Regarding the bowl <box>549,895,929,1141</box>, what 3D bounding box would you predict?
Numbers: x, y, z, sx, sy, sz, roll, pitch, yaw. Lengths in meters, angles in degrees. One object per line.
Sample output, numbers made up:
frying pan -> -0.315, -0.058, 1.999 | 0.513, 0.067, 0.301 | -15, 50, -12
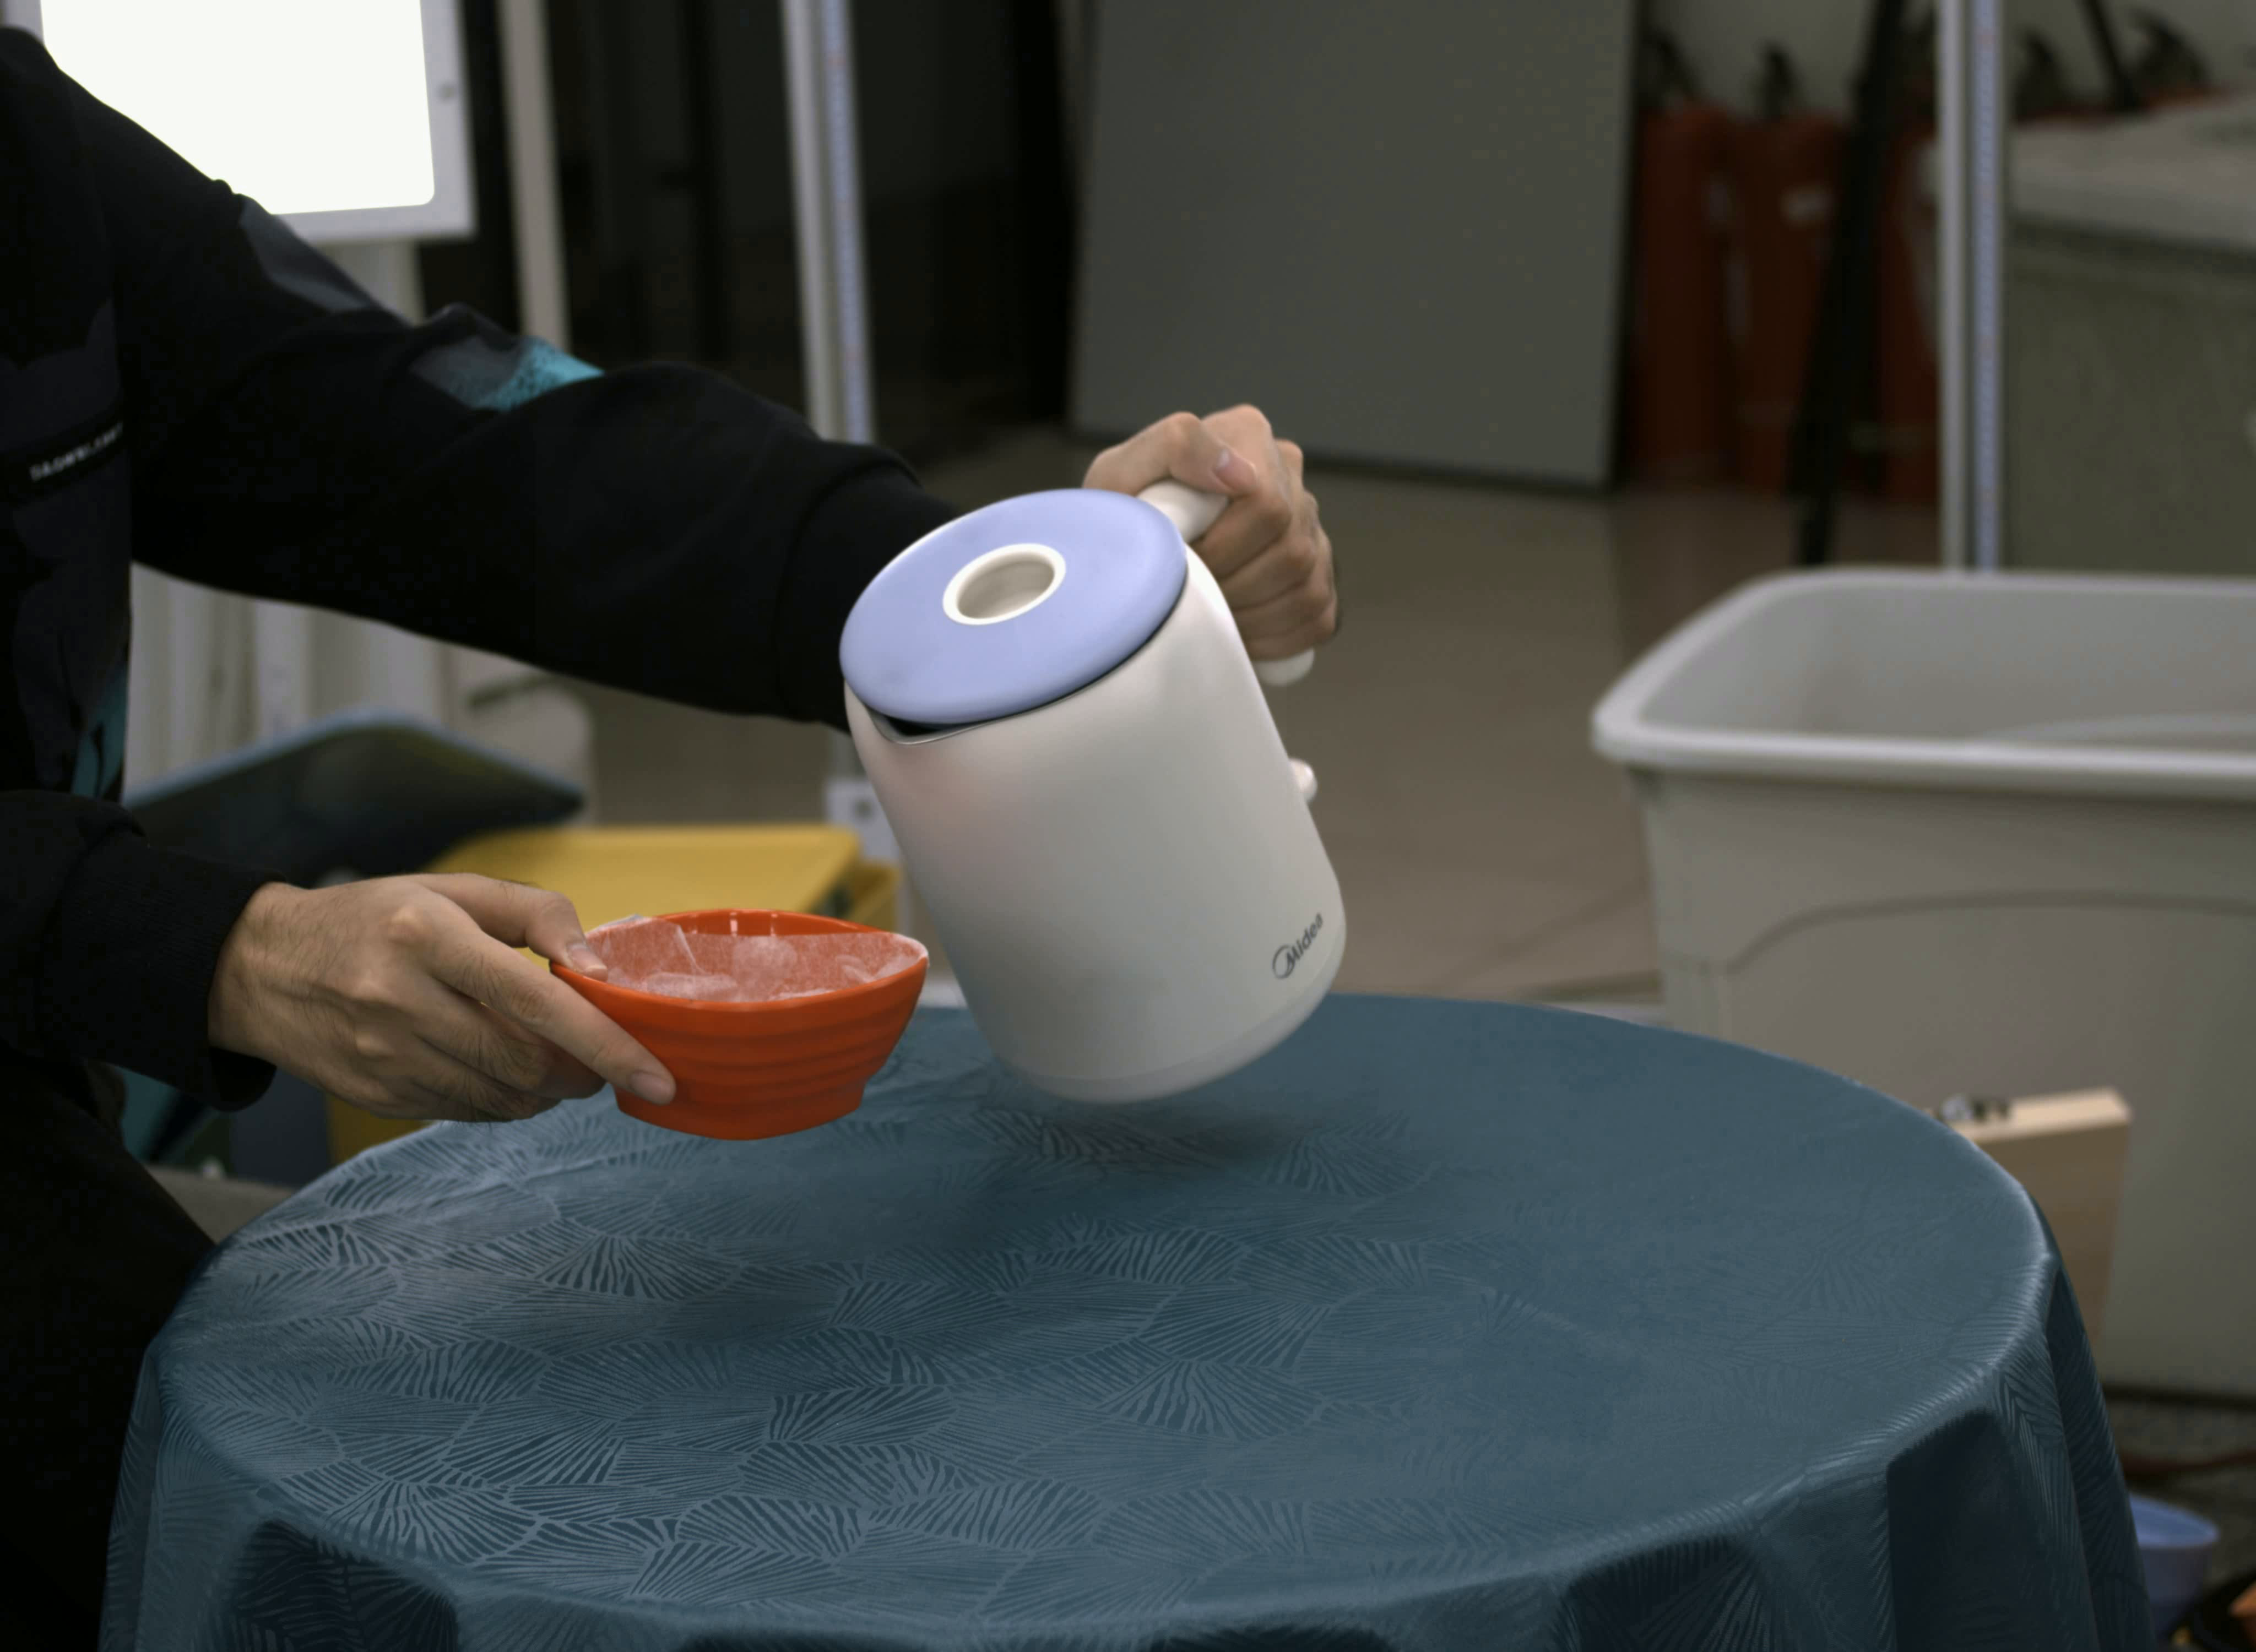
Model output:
bowl -> -0.121, 0.061, 1.679 | 0.117, 0.052, 0.119 | 0, 15, -1

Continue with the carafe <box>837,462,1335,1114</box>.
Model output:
carafe -> -0.001, -0.024, 1.790 | 0.133, 0.183, 0.189 | 7, 41, 35
